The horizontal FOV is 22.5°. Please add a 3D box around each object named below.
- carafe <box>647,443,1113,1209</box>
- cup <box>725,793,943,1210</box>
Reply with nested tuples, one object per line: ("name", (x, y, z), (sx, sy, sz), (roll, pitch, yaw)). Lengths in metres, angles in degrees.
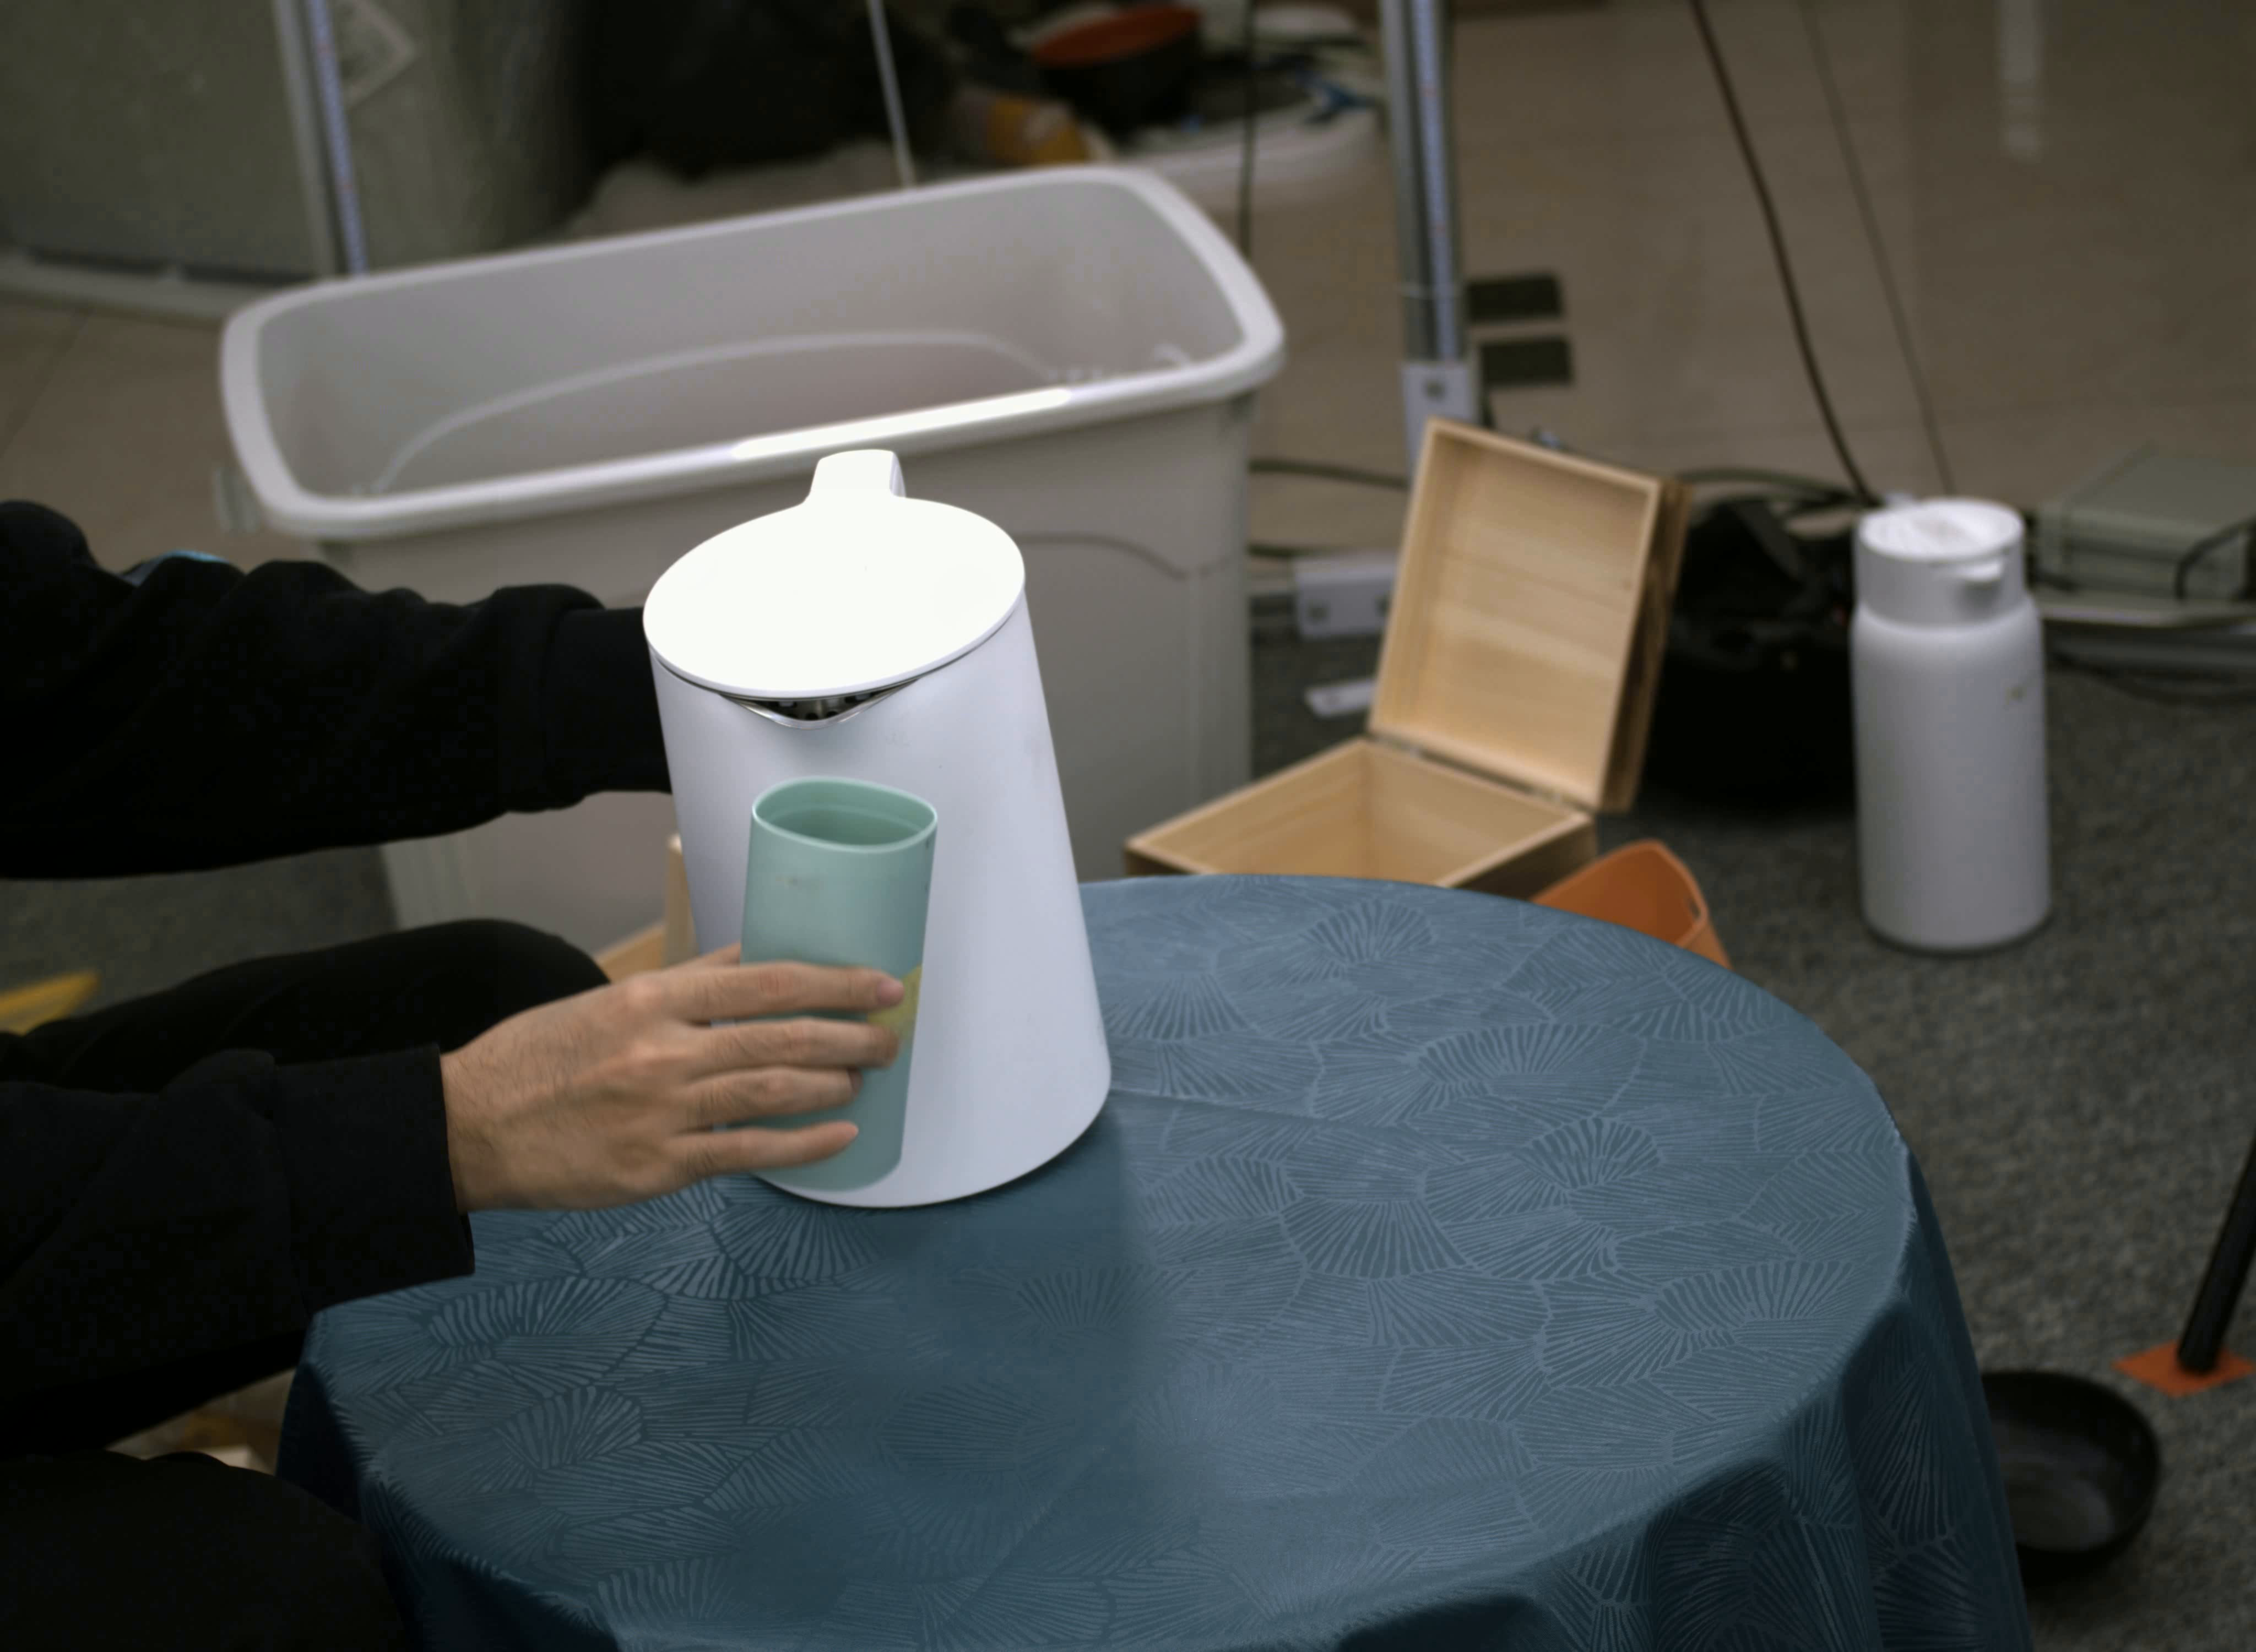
("carafe", (-0.092, -0.006, 2.170), (0.152, 0.244, 0.209), (-3, 34, 6))
("cup", (-0.105, 0.060, 1.982), (0.066, 0.134, 0.066), (6, 24, -3))
